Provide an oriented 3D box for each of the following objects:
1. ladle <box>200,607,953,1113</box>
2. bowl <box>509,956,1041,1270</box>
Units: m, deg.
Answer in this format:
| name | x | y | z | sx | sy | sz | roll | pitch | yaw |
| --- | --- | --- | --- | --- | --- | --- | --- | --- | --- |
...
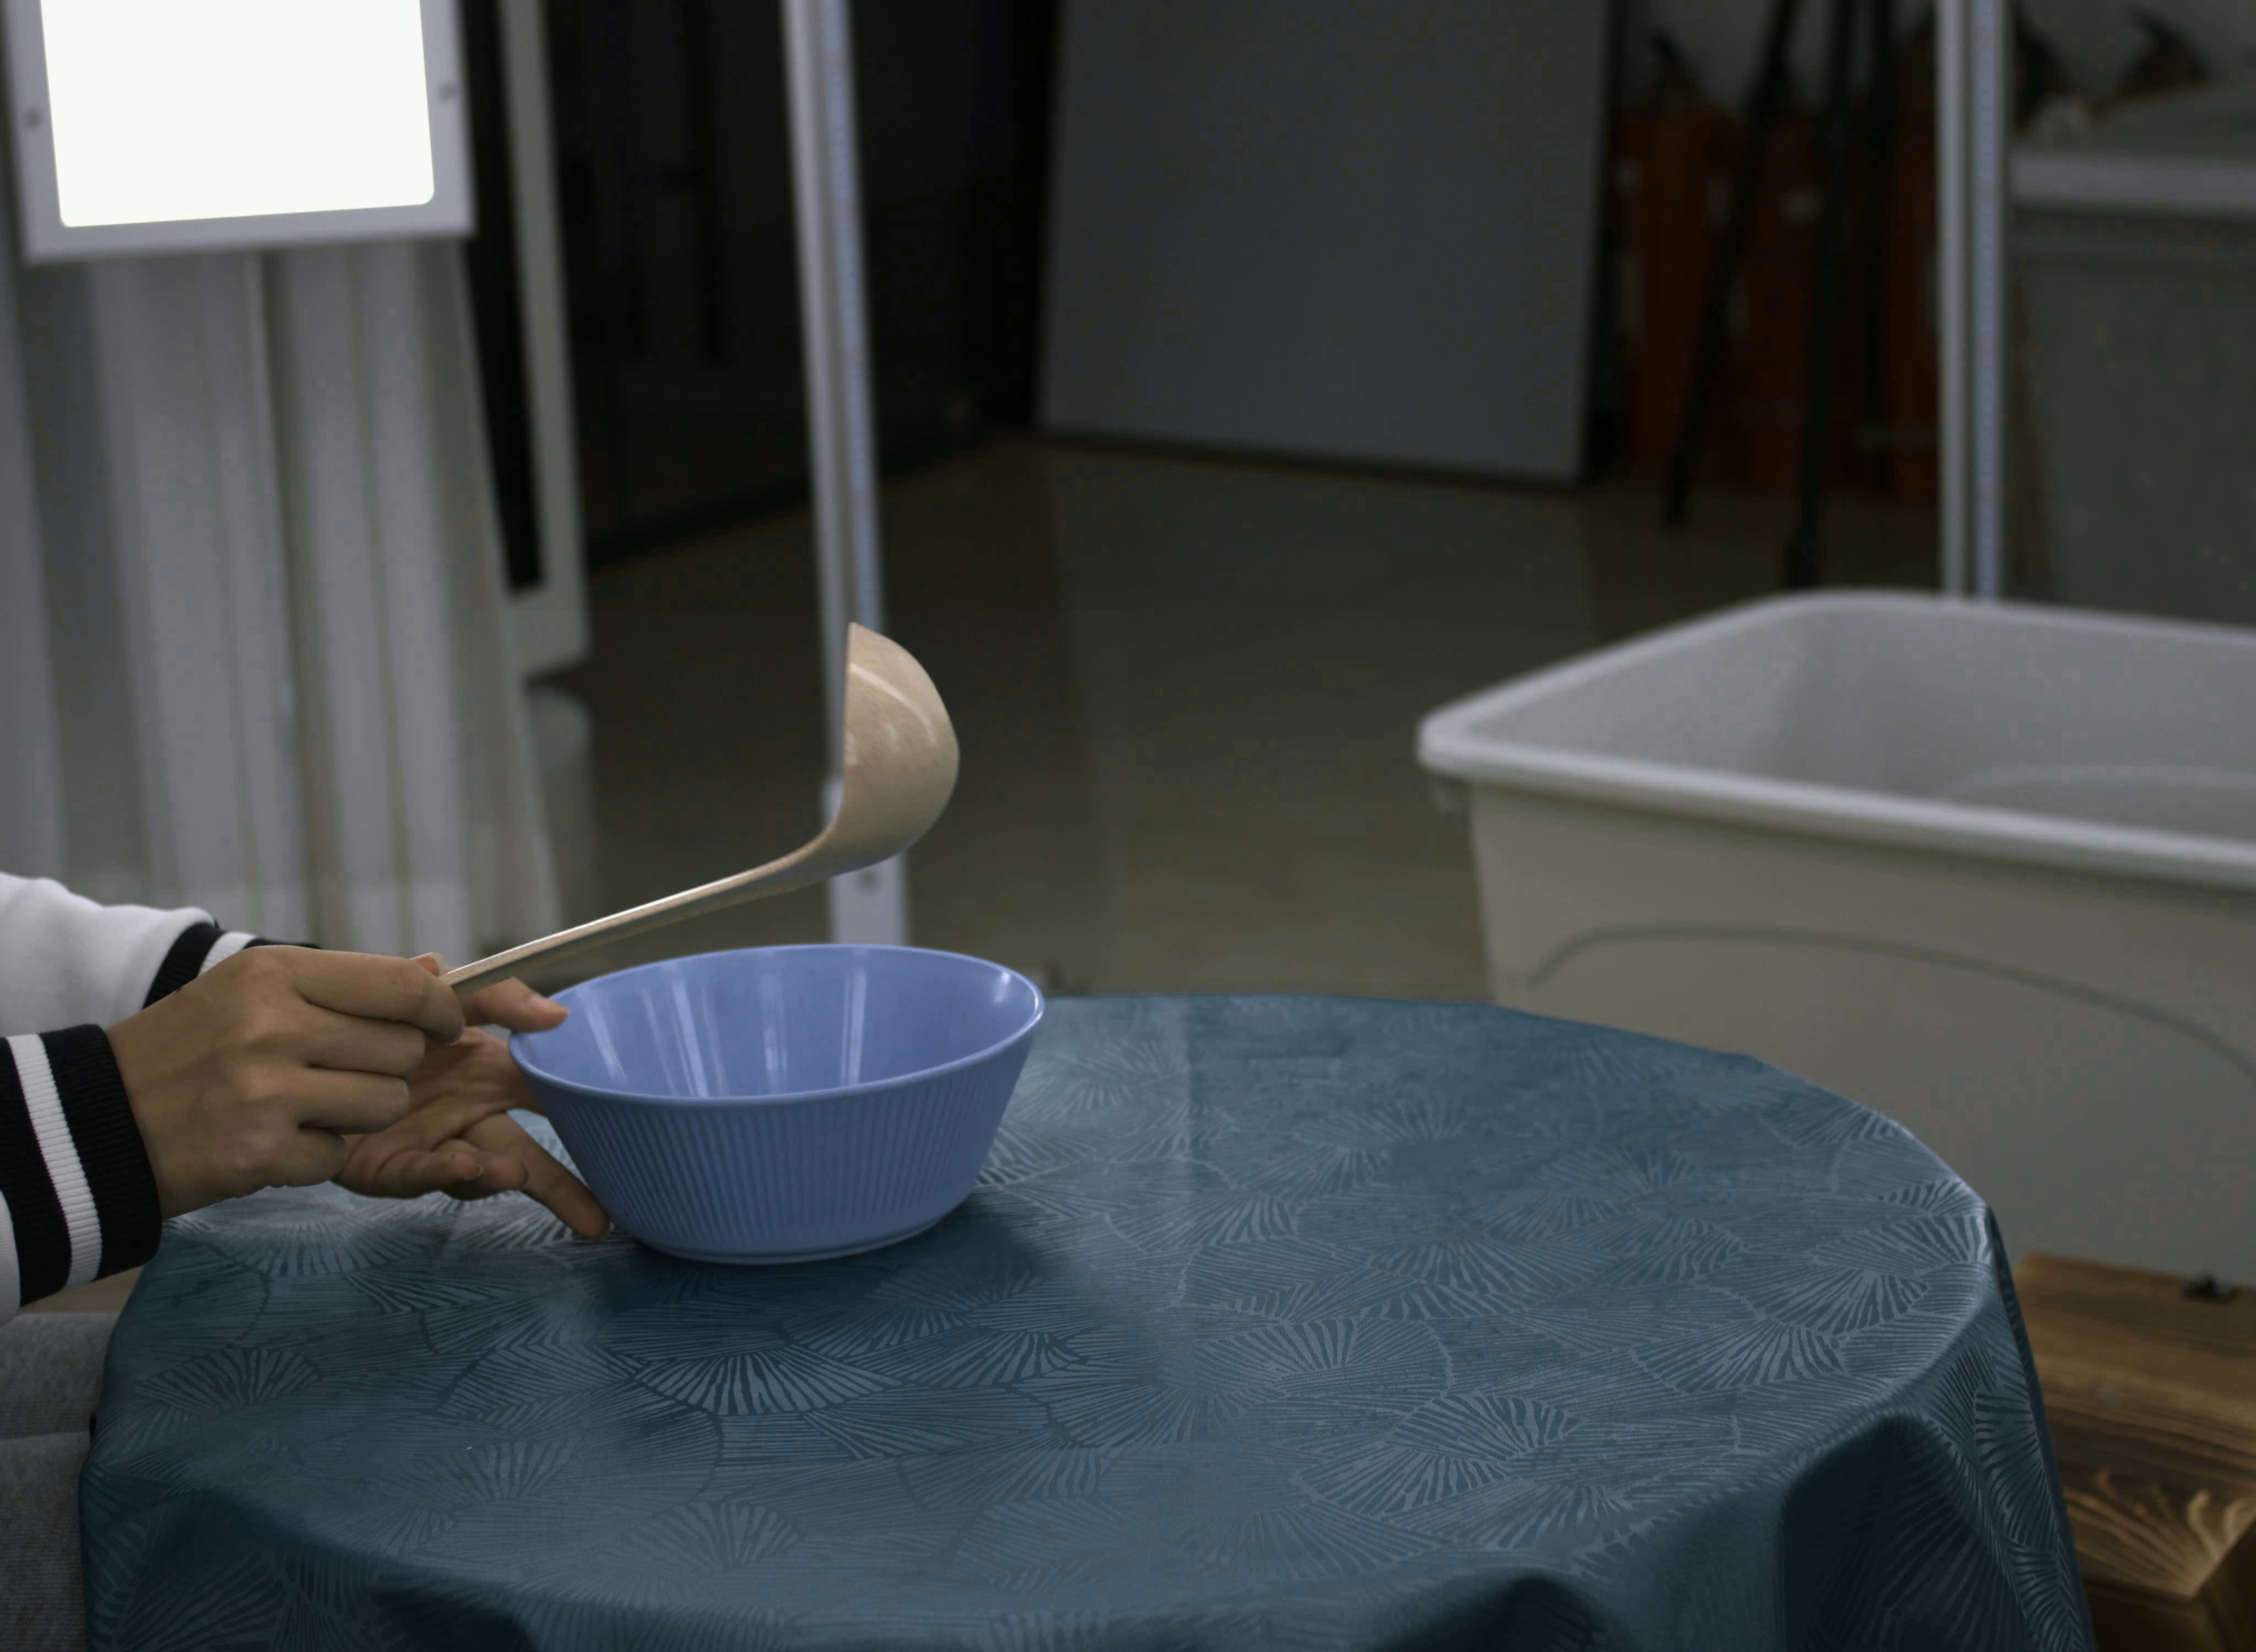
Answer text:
| name | x | y | z | sx | sy | sz | roll | pitch | yaw |
| --- | --- | --- | --- | --- | --- | --- | --- | --- | --- |
| ladle | -0.173 | 0.008 | 1.631 | 0.250 | 0.074 | 0.072 | -22 | -25 | -12 |
| bowl | -0.112 | 0.095 | 1.761 | 0.174 | 0.071 | 0.176 | -4 | 13 | 0 |
